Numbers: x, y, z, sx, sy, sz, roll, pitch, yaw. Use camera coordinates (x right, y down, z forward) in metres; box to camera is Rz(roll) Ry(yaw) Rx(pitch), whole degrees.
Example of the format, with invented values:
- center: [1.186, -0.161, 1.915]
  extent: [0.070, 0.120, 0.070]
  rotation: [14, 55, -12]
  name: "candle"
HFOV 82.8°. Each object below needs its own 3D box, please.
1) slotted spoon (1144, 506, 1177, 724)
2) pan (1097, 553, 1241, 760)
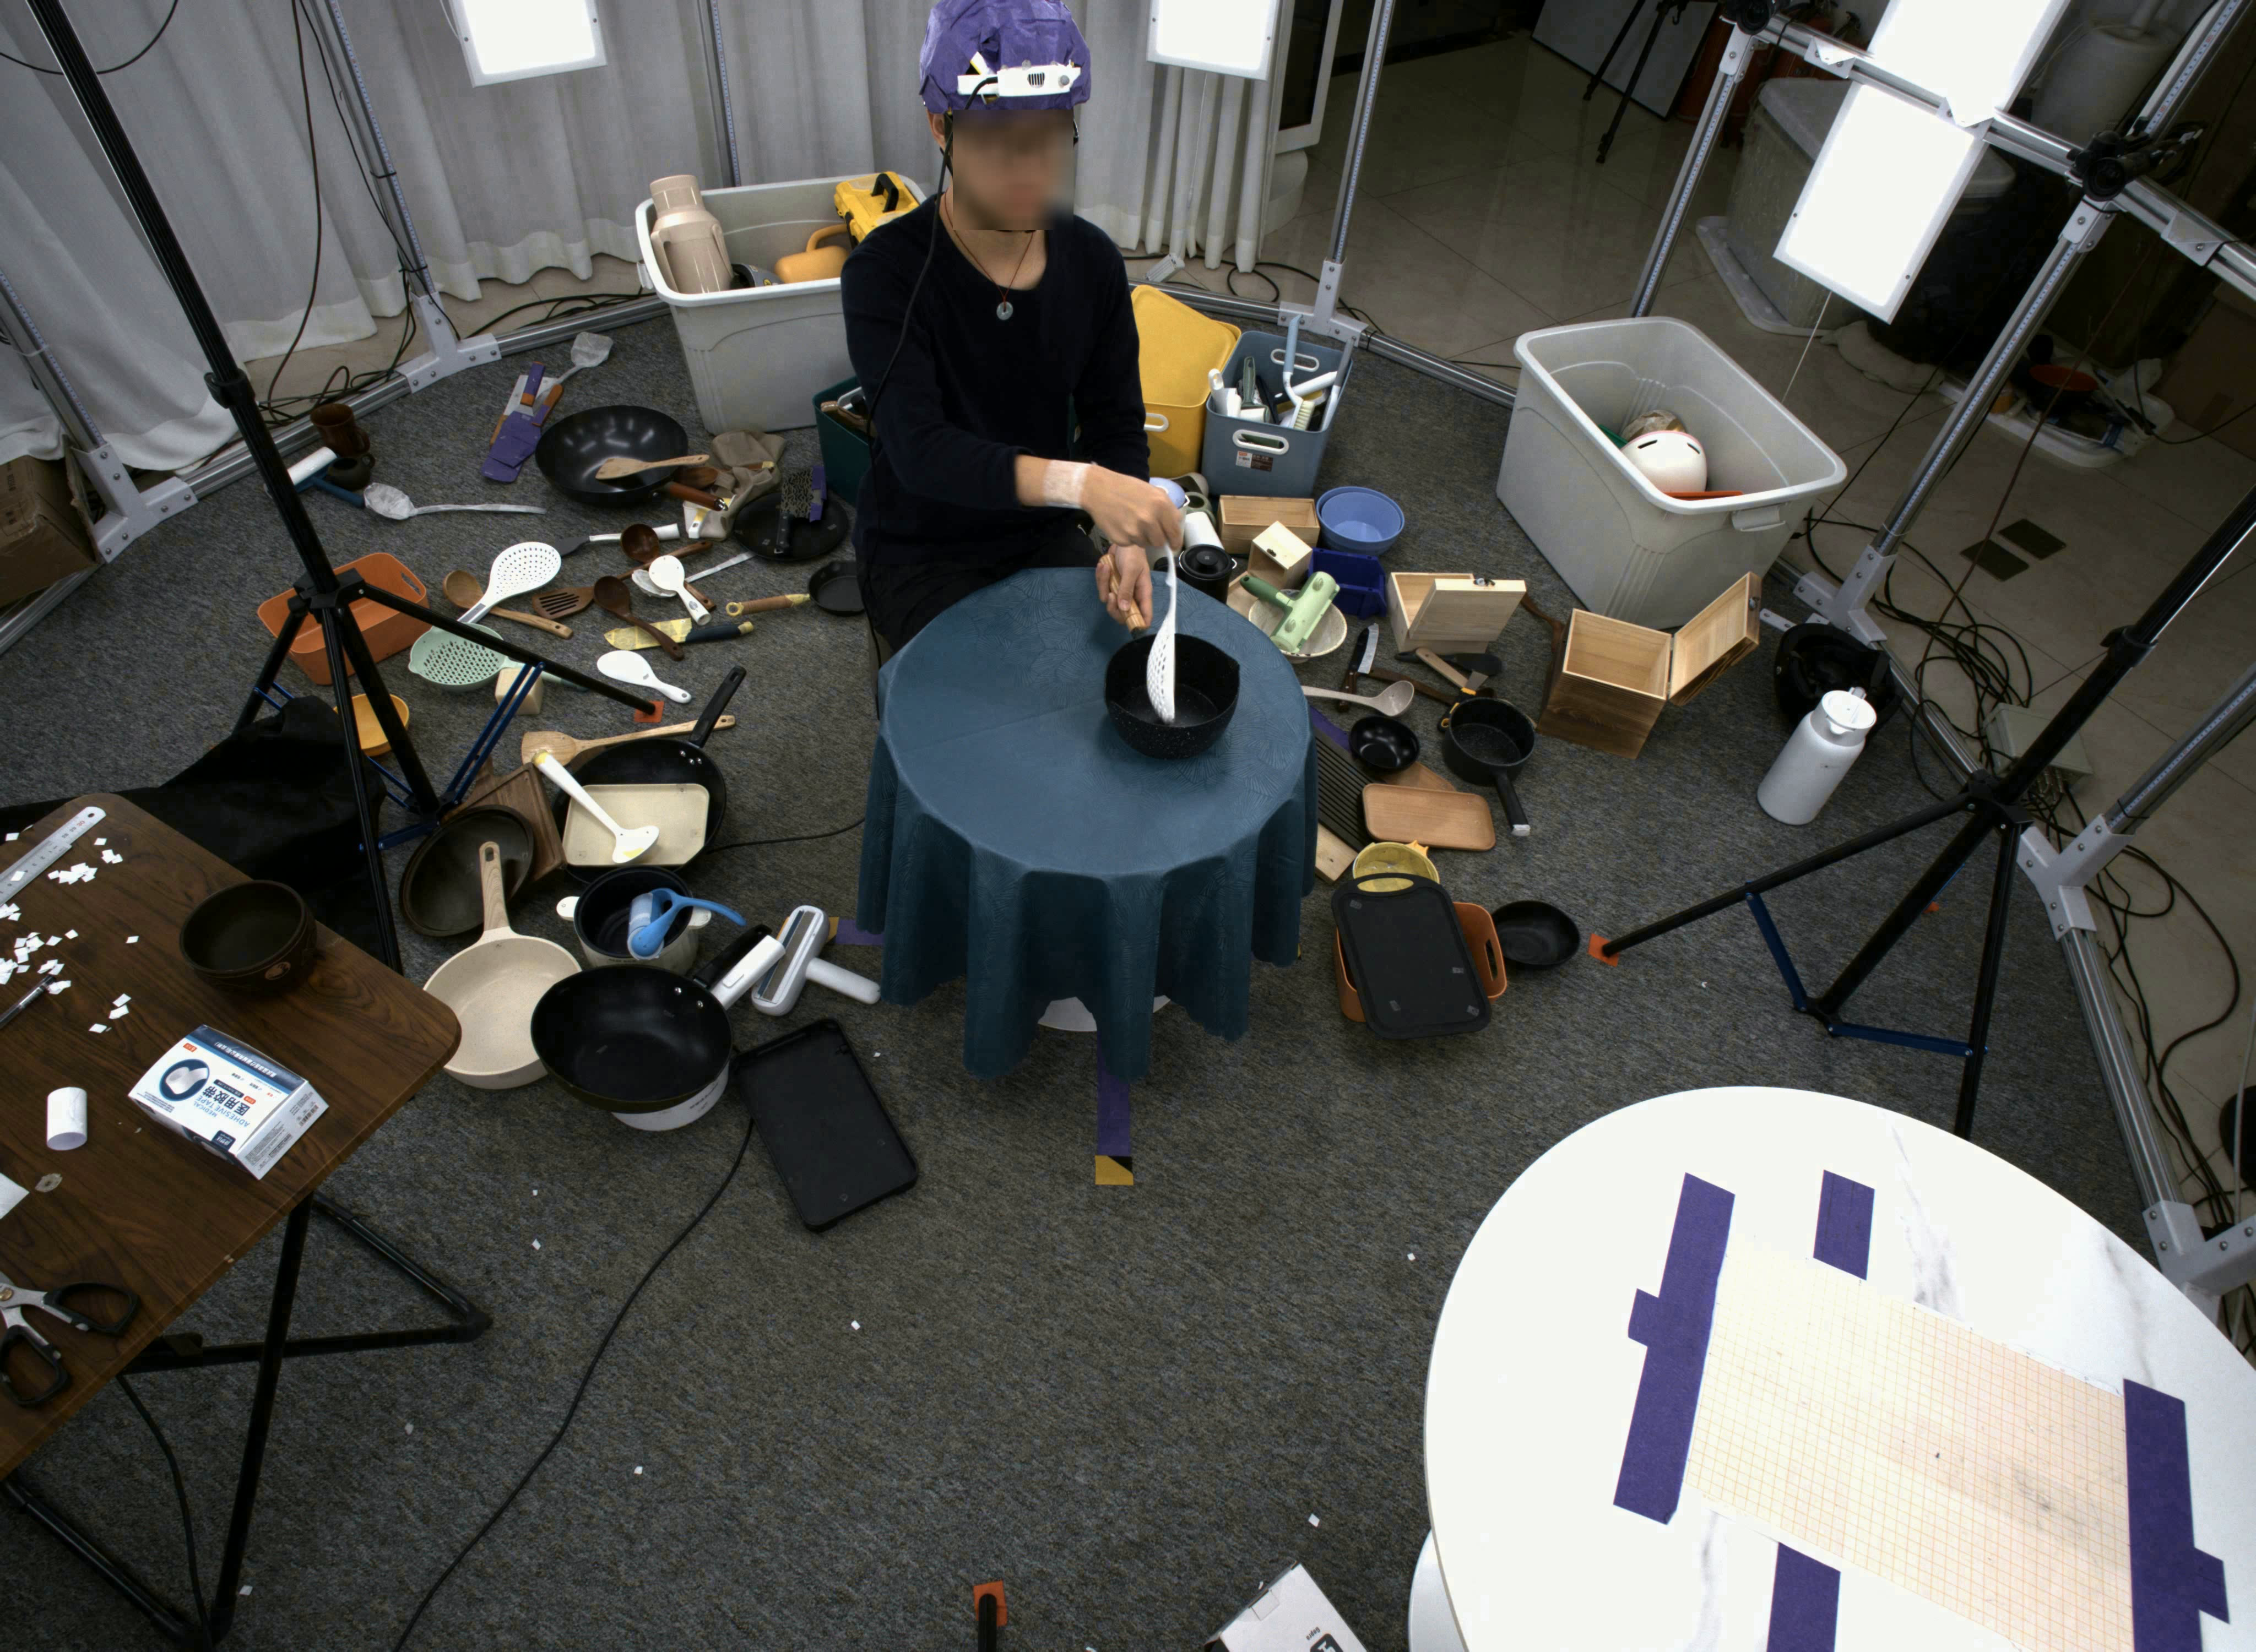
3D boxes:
- center: [0.049, -0.268, 1.657]
  extent: [0.050, 0.339, 0.140]
  rotation: [3, 48, -2]
  name: "slotted spoon"
- center: [0.027, -0.239, 1.809]
  extent: [0.207, 0.105, 0.351]
  rotation: [-16, 53, -16]
  name: "pan"
